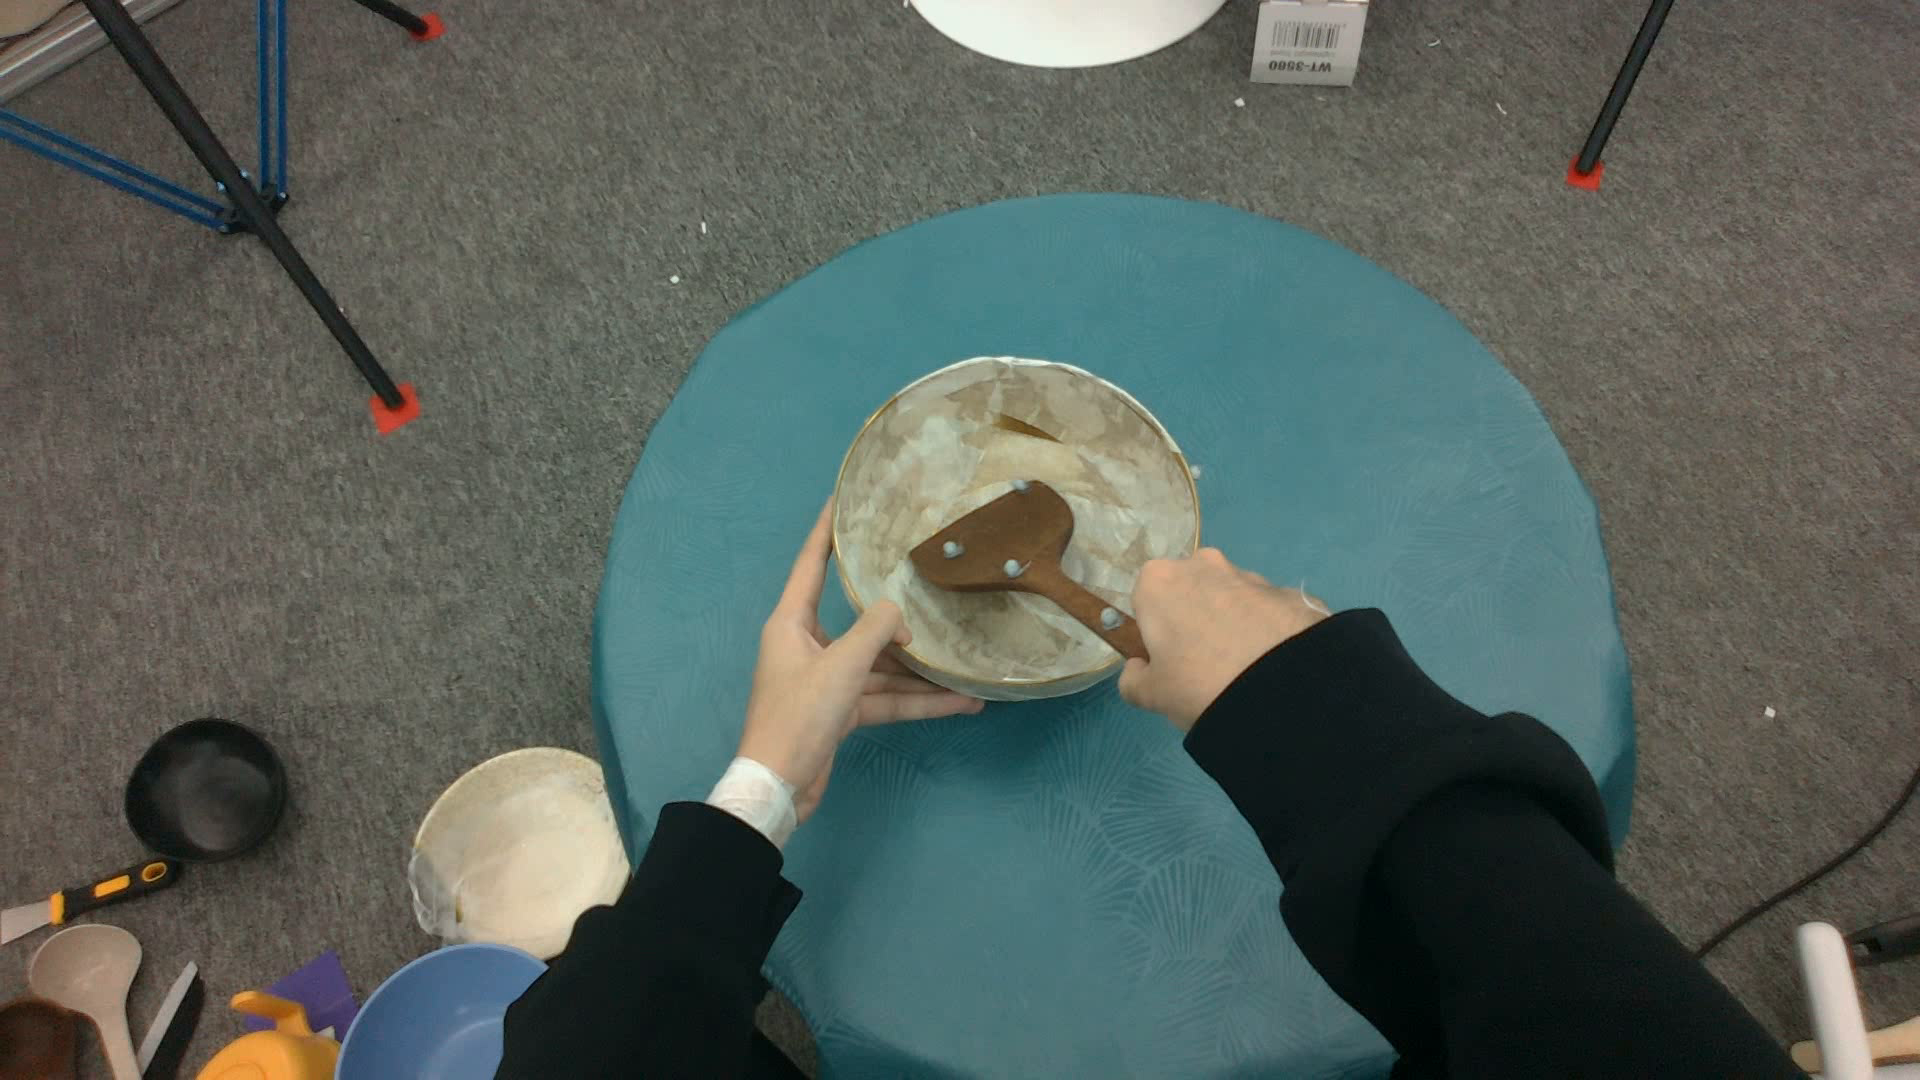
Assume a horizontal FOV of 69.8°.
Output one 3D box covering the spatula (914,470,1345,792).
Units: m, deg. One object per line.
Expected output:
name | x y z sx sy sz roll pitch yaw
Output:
spatula | 0.068 0.031 0.651 0.096 0.016 0.386 -29 22 -9

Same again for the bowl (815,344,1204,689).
bowl | 0.023 0.000 0.773 0.215 0.094 0.215 2 63 -3
